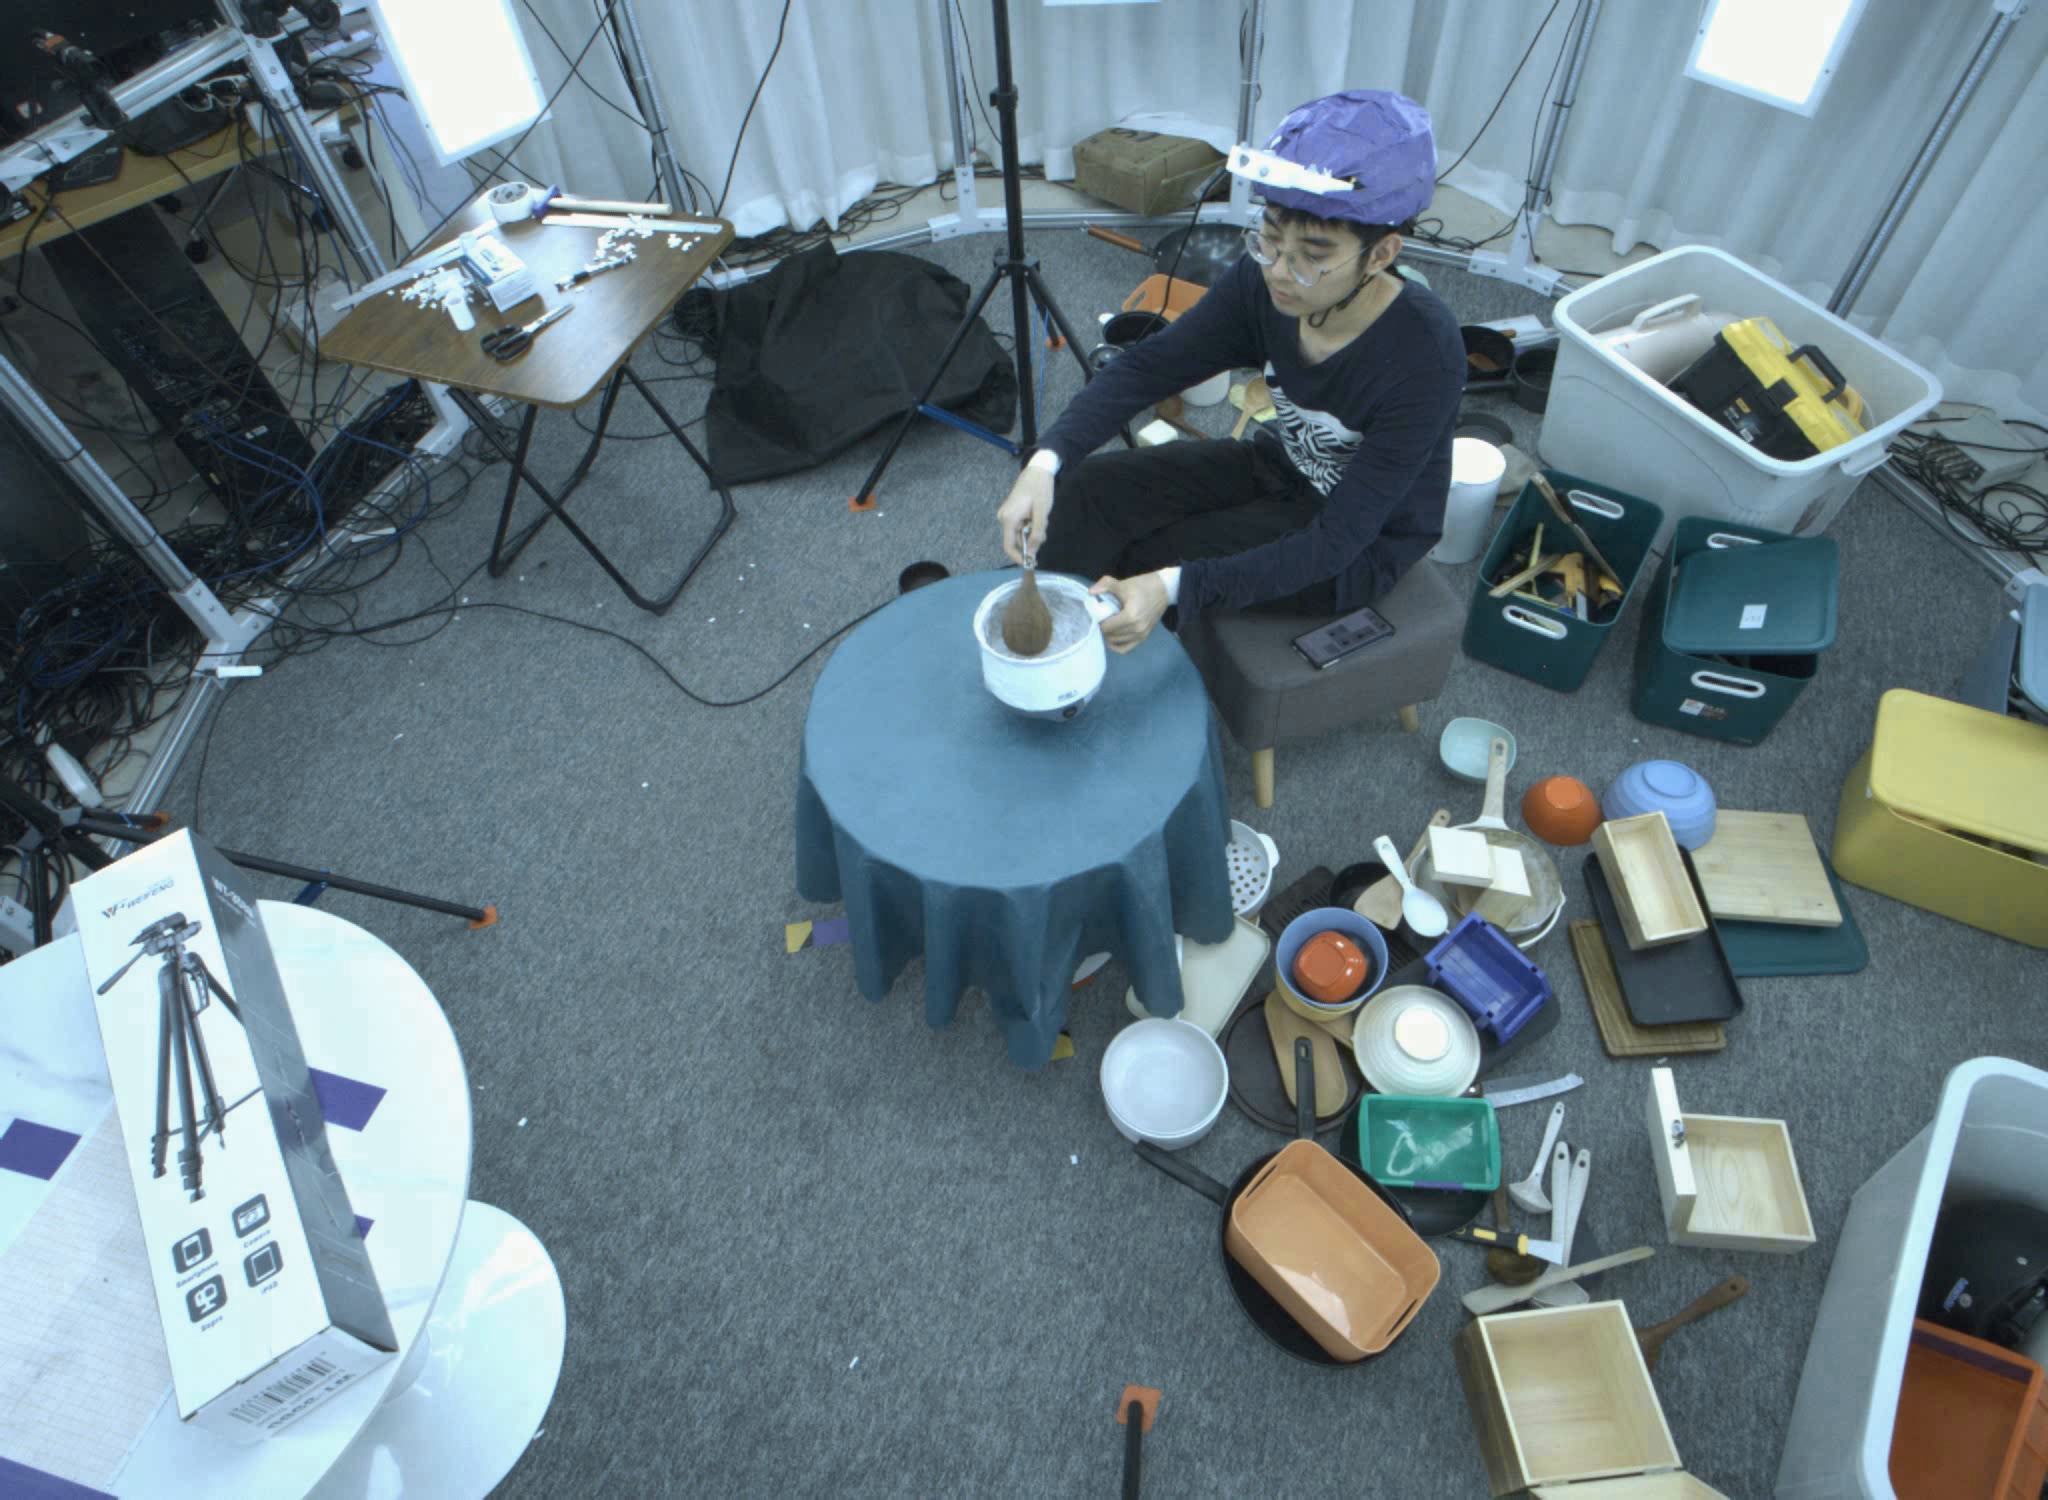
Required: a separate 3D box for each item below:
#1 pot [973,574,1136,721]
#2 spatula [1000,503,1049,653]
[{"bbox_3d":[0.049,-0.156,1.768,0.235,0.138,0.175,-24,54,-11],"label":"pot"},{"bbox_3d":[0.004,-0.246,1.755,0.072,0.009,0.216,2,93,-14],"label":"spatula"}]
